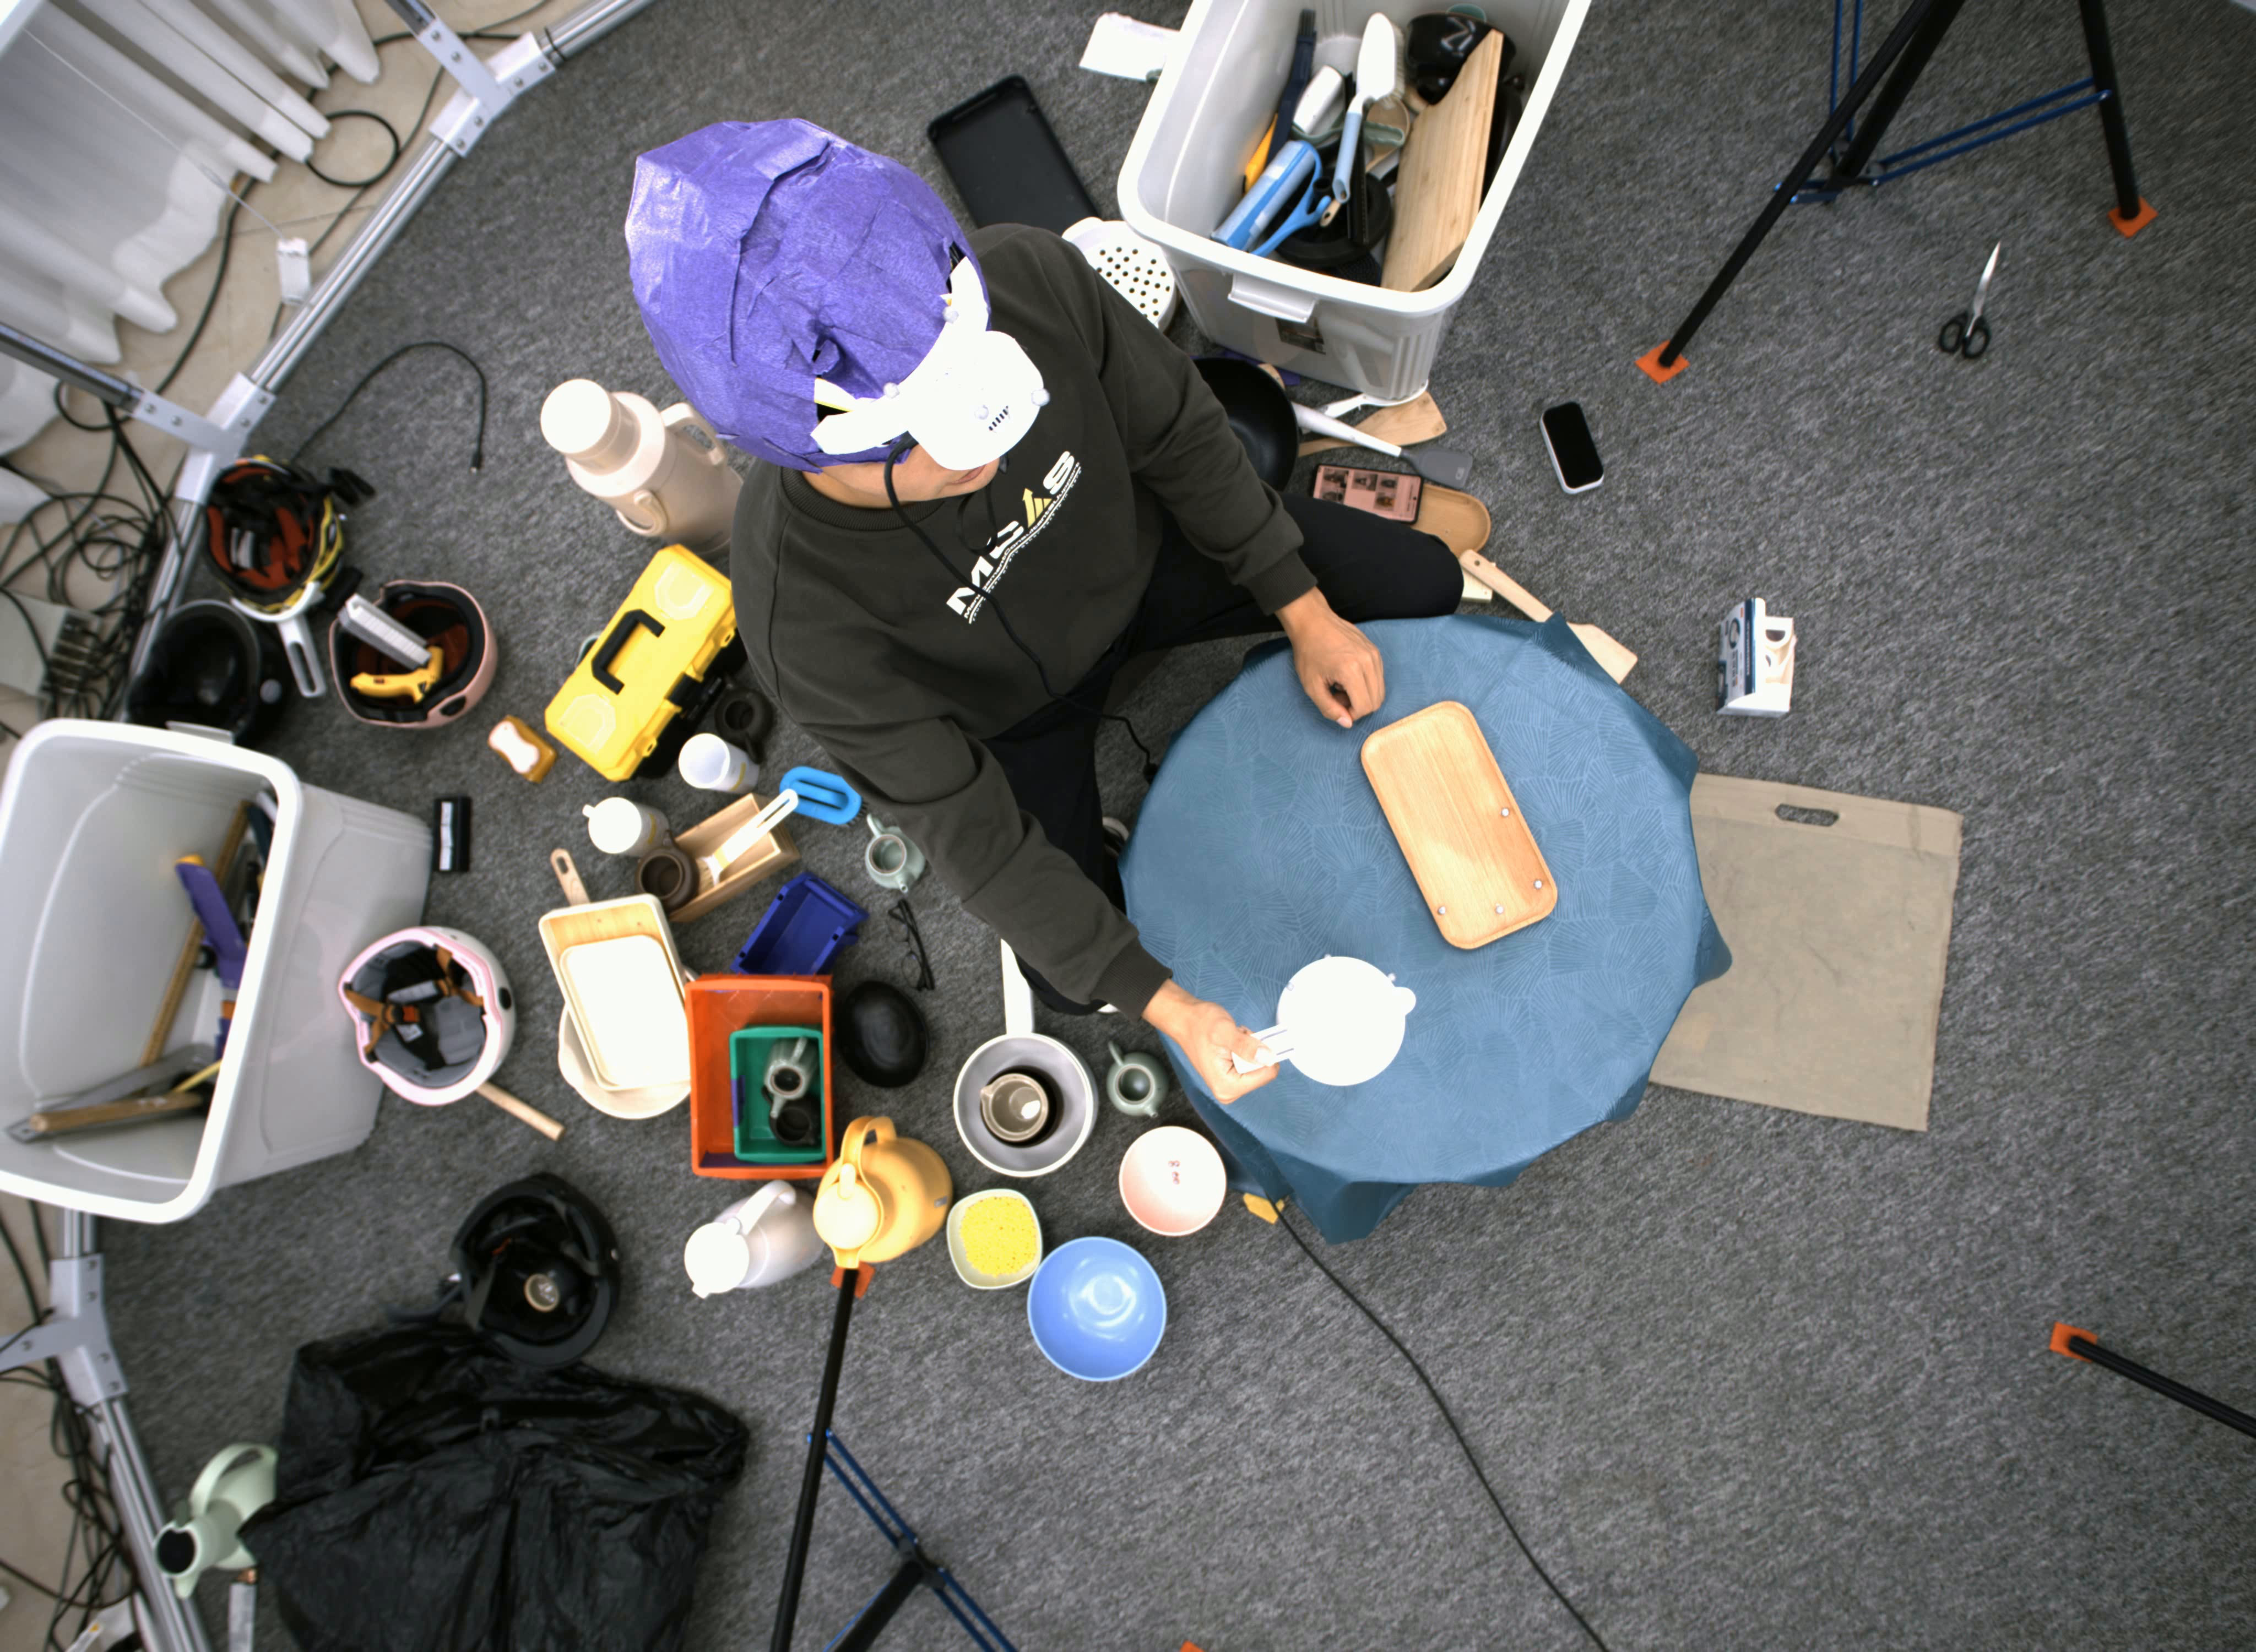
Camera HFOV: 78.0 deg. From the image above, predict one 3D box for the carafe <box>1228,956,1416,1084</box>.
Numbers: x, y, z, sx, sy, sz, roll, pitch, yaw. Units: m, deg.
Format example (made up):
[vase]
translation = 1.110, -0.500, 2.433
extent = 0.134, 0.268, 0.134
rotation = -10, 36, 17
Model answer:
[carafe]
translation = 0.186, 0.192, 1.330
extent = 0.173, 0.269, 0.123
rotation = -20, 83, 5

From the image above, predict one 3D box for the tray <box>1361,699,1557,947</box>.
[tray]
translation = 0.346, -0.005, 1.442
extent = 0.131, 0.023, 0.249
rotation = -23, 82, 6
